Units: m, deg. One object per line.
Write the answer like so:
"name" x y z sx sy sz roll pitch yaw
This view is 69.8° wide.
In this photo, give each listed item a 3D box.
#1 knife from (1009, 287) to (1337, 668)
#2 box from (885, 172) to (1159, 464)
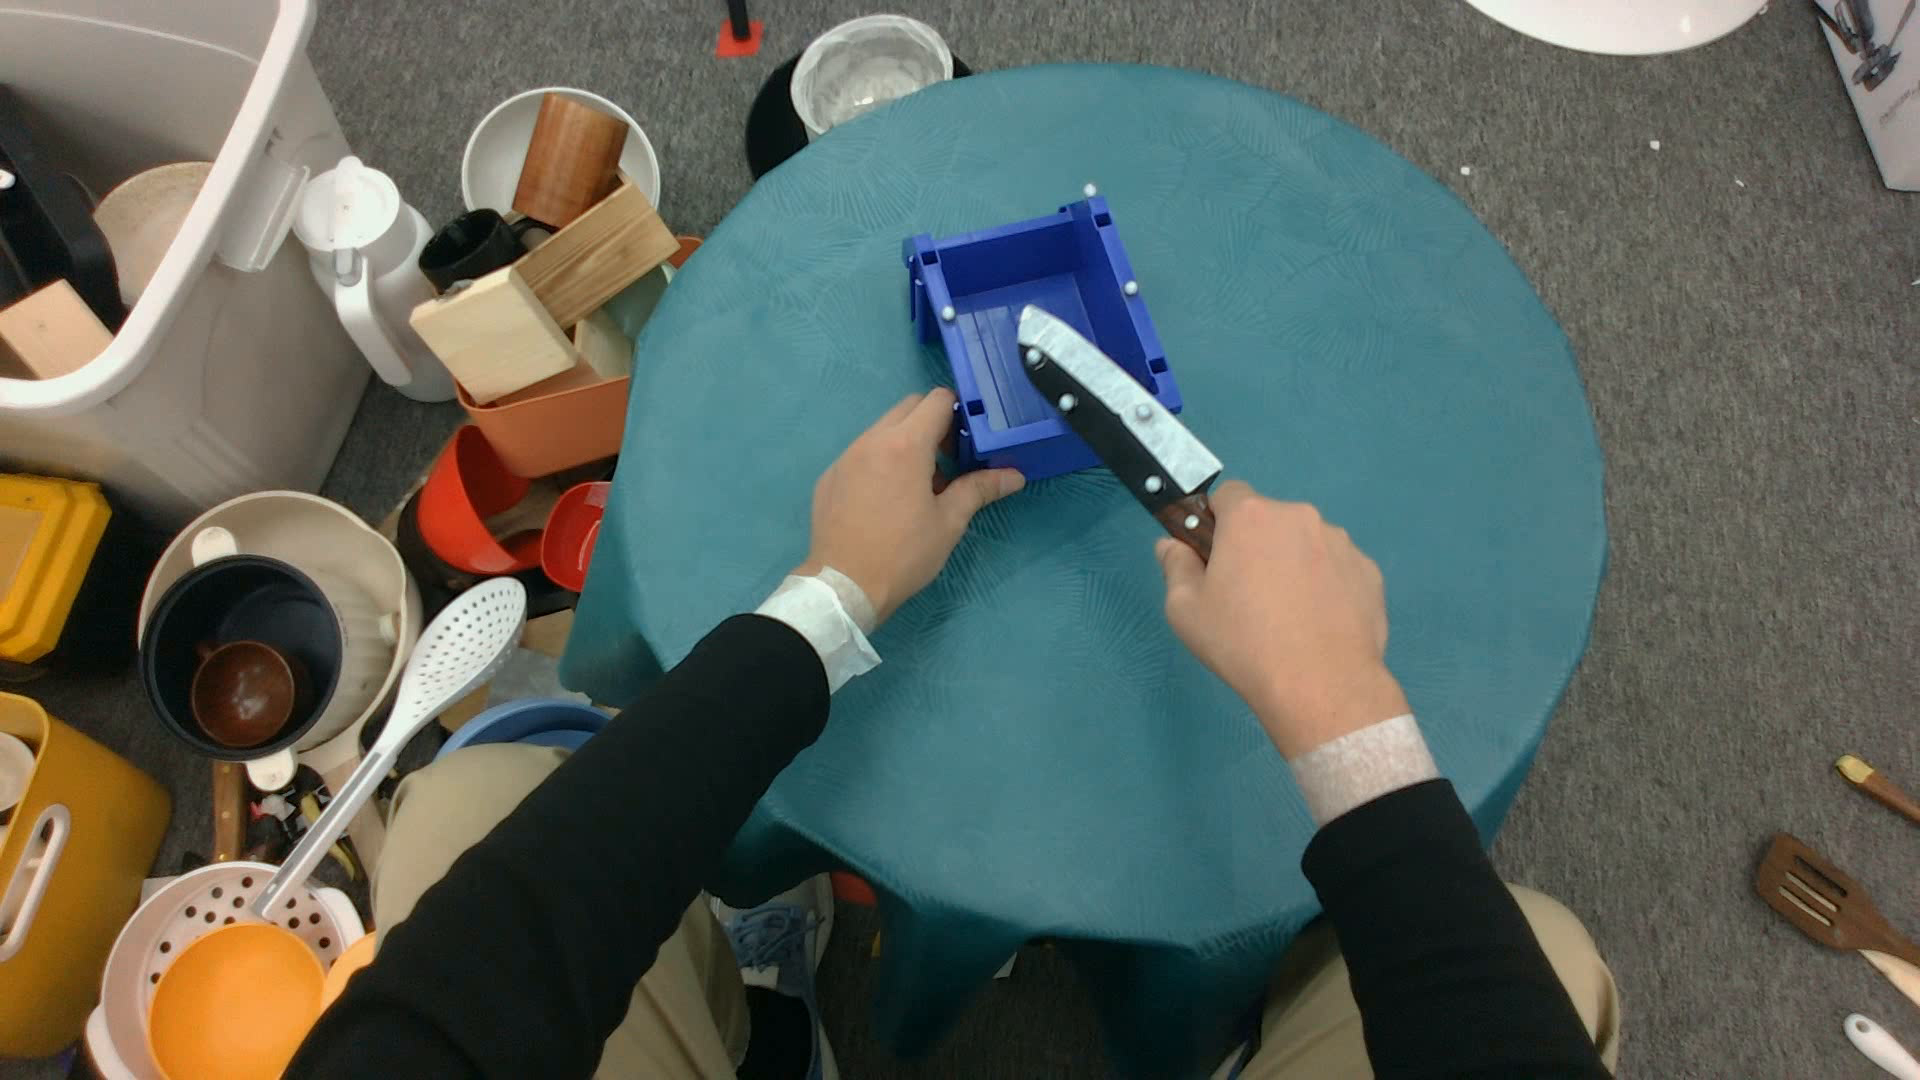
"knife" 0.101 -0.045 0.717 0.050 0.020 0.290 -37 56 3
"box" 0.030 -0.139 0.831 0.124 0.081 0.180 -13 69 -6
